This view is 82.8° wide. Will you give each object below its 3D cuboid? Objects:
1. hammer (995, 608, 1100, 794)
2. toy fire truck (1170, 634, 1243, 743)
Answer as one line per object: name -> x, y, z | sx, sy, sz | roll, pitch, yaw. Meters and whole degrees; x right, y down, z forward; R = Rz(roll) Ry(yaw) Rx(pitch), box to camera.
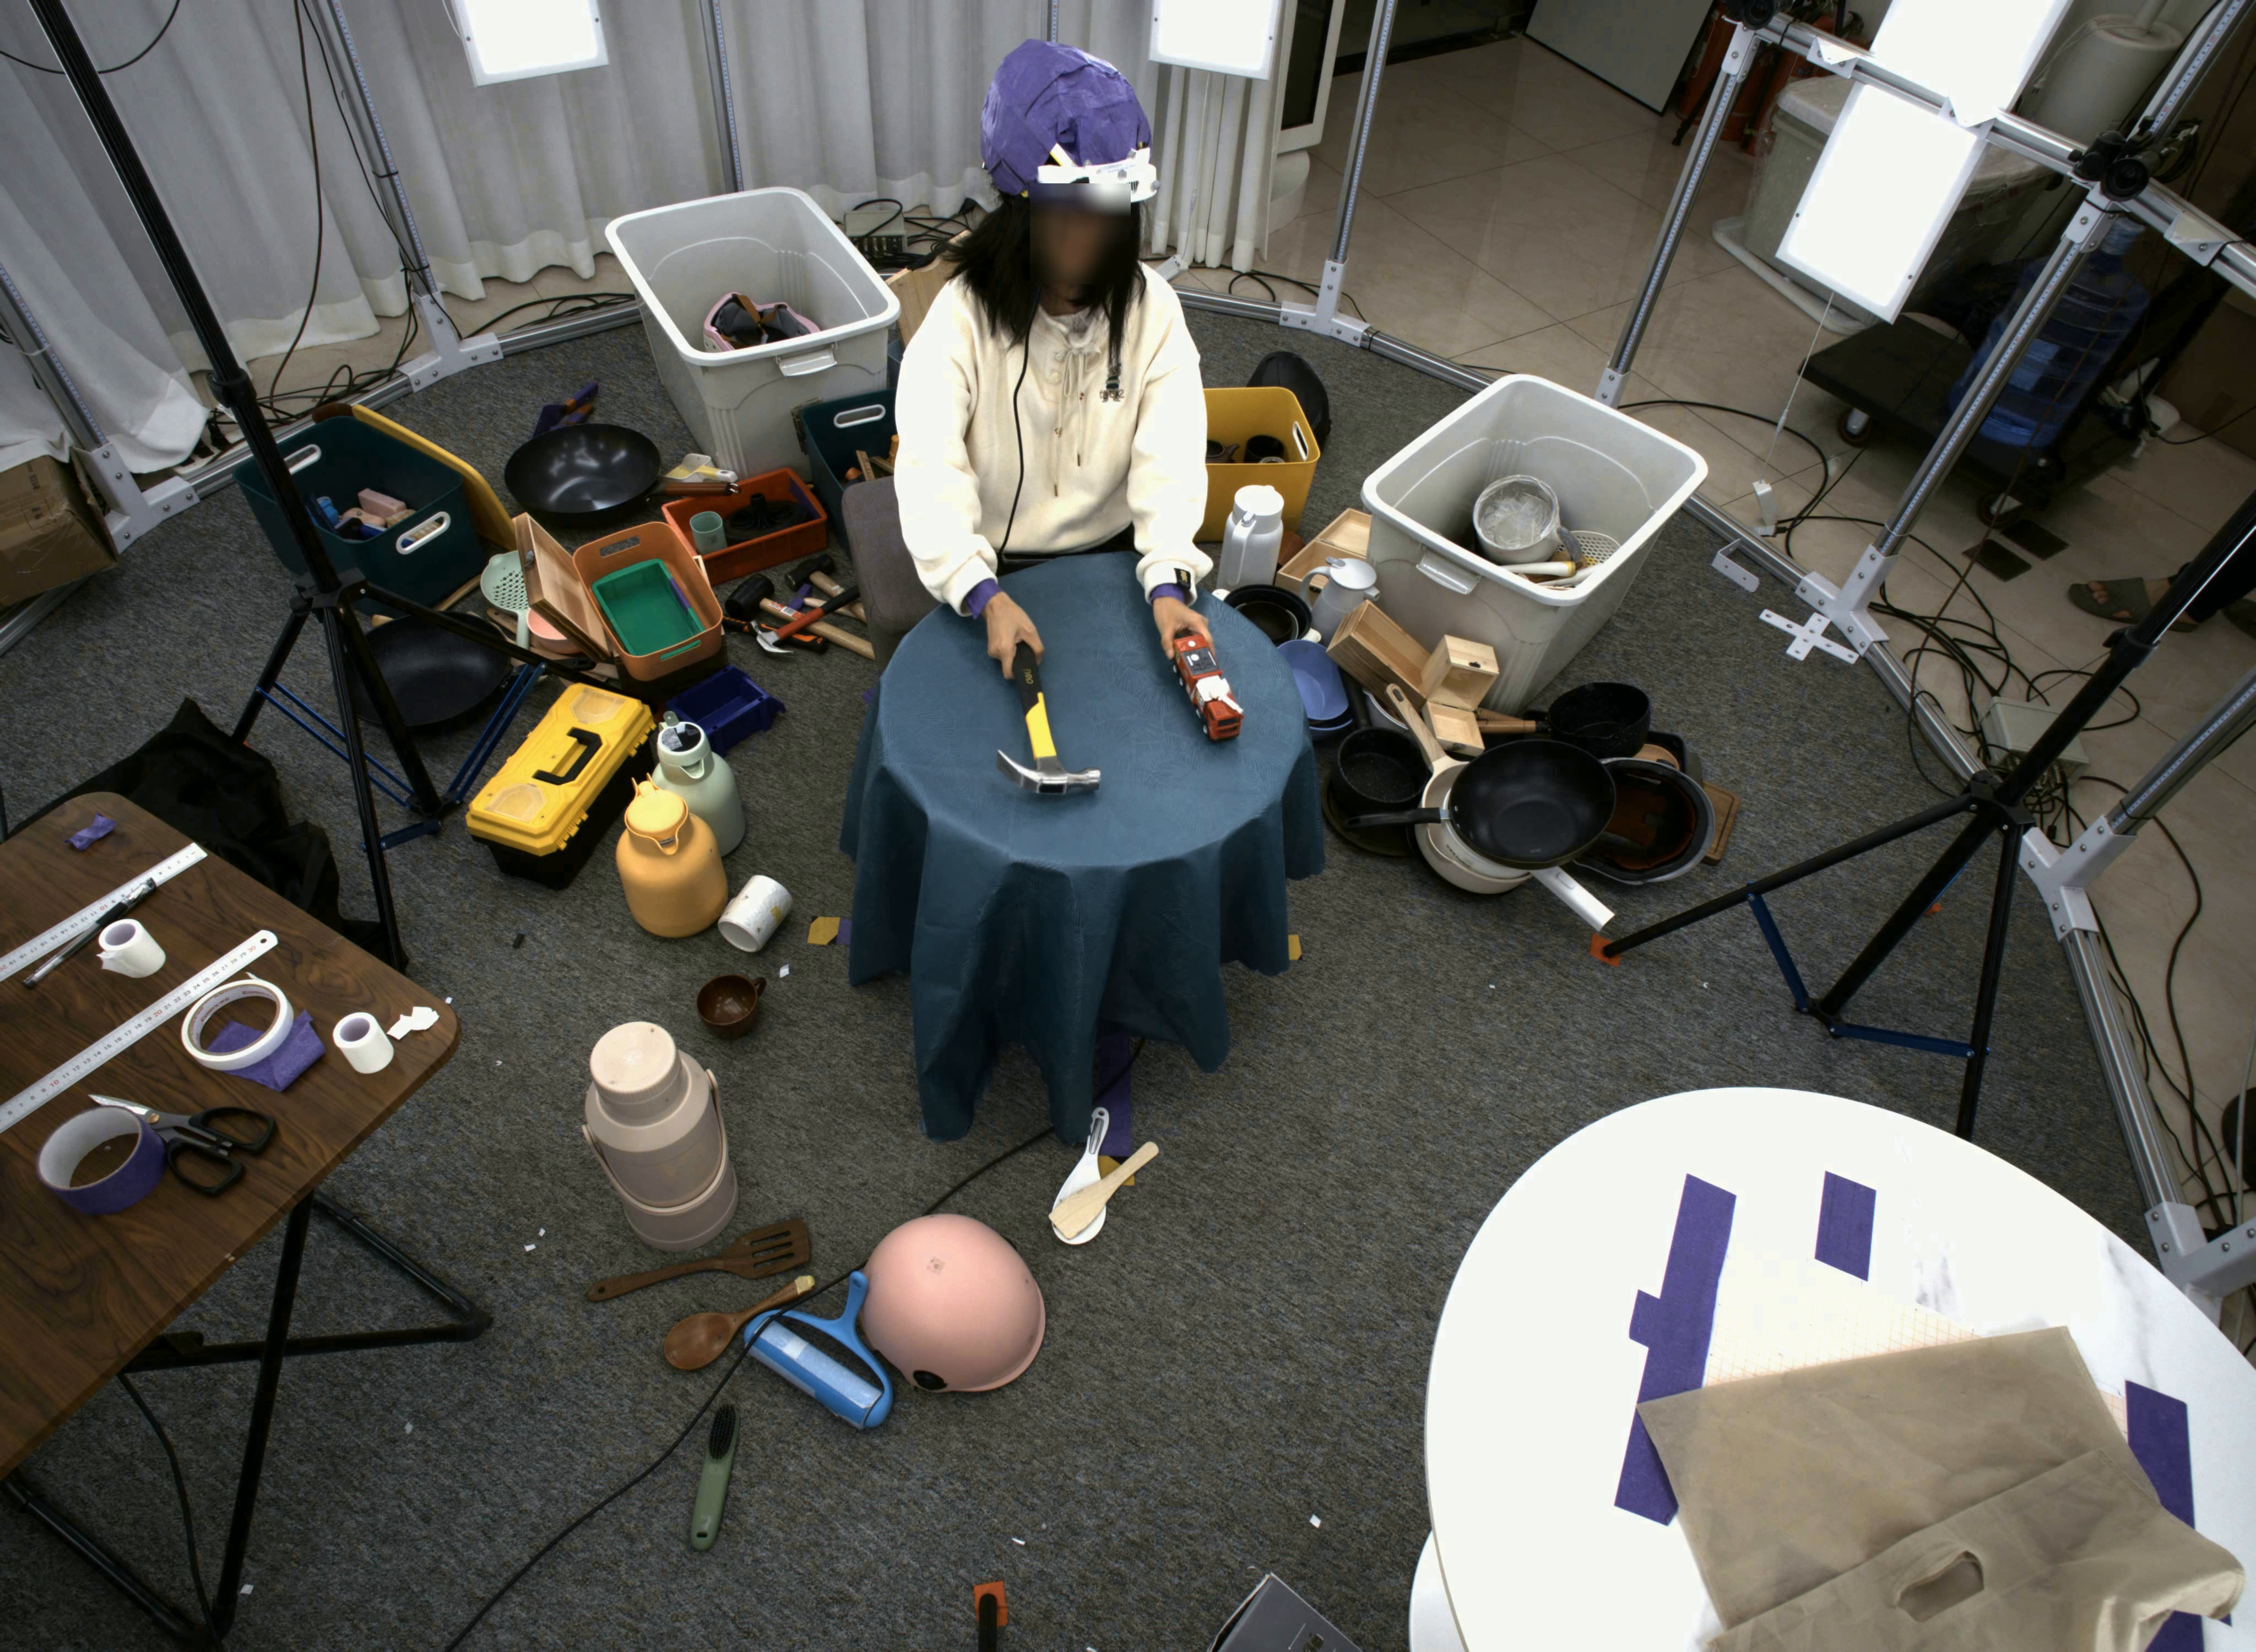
hammer -> -0.131, -0.180, 1.774 | 0.131, 0.031, 0.347 | -3, 50, -13
toy fire truck -> 0.110, -0.195, 1.802 | 0.054, 0.068, 0.172 | -13, 56, -17
